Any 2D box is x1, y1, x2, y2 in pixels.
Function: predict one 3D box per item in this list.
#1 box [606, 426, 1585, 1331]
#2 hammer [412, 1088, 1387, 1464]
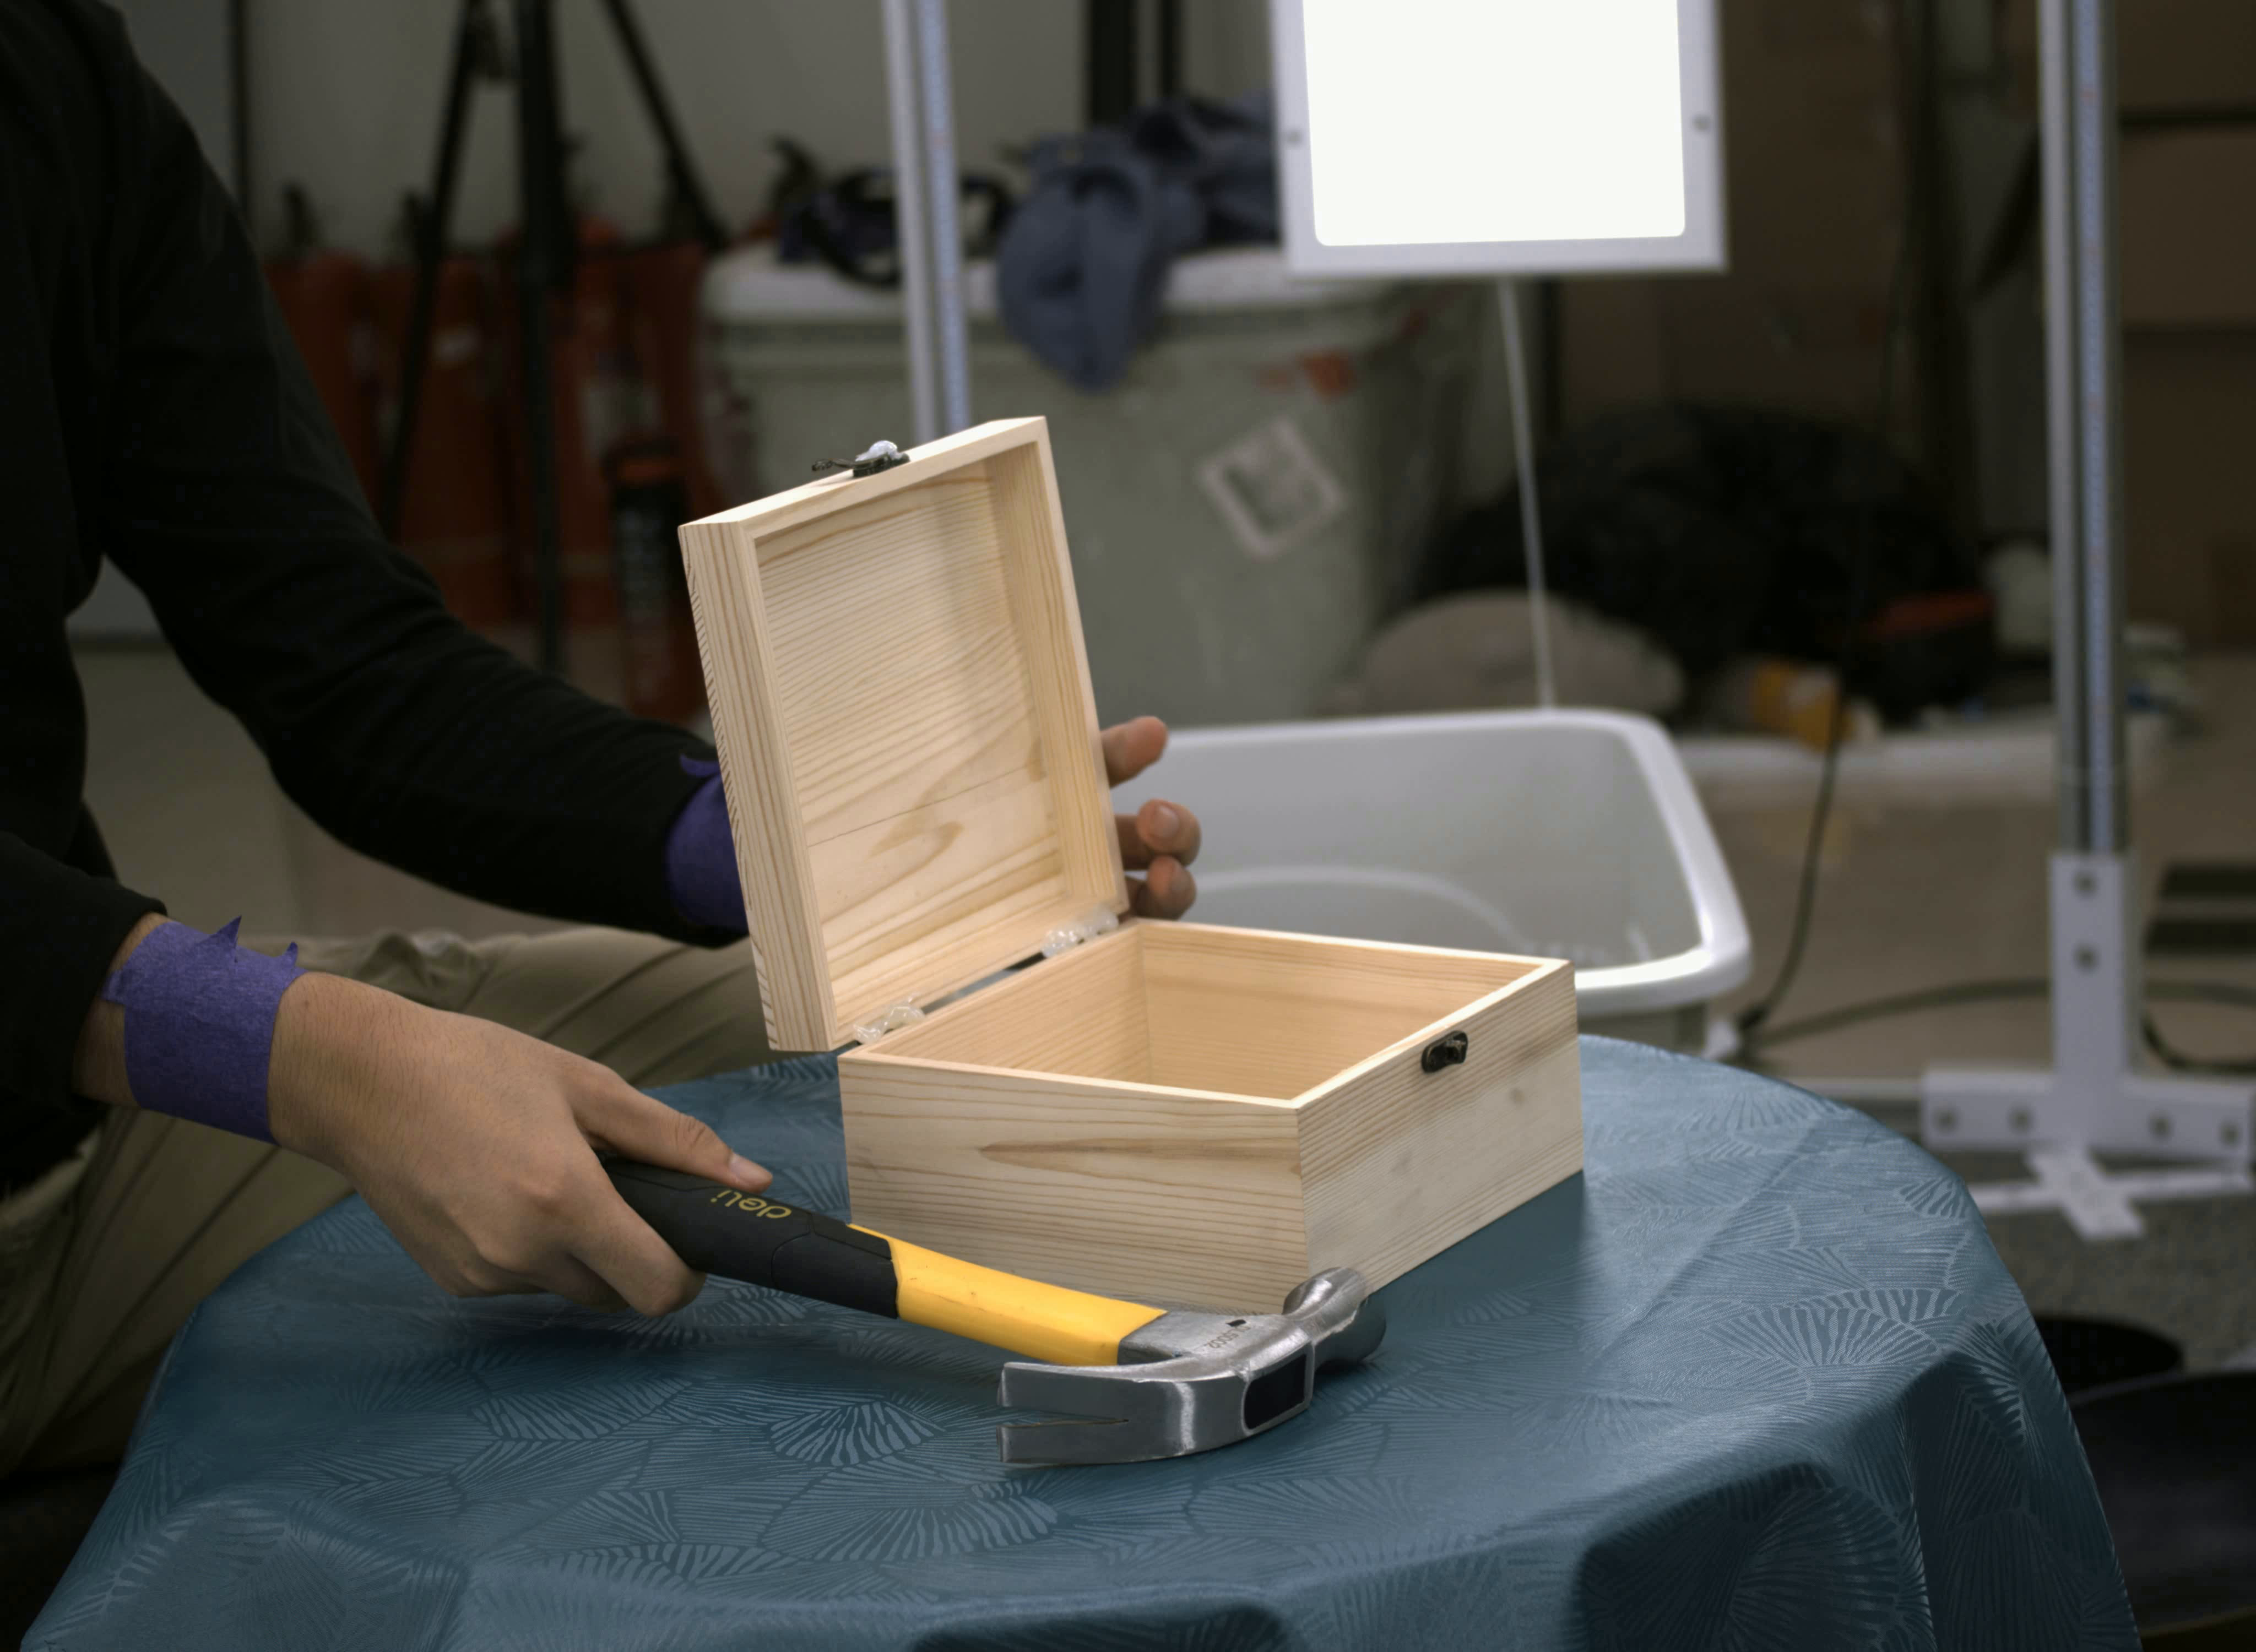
[{"bbox_3d":[-0.005,0.010,1.851,0.270,0.254,0.177,5,19,34],"label":"box"},{"bbox_3d":[-0.093,0.135,1.750,0.345,0.032,0.128,14,23,34],"label":"hammer"}]
